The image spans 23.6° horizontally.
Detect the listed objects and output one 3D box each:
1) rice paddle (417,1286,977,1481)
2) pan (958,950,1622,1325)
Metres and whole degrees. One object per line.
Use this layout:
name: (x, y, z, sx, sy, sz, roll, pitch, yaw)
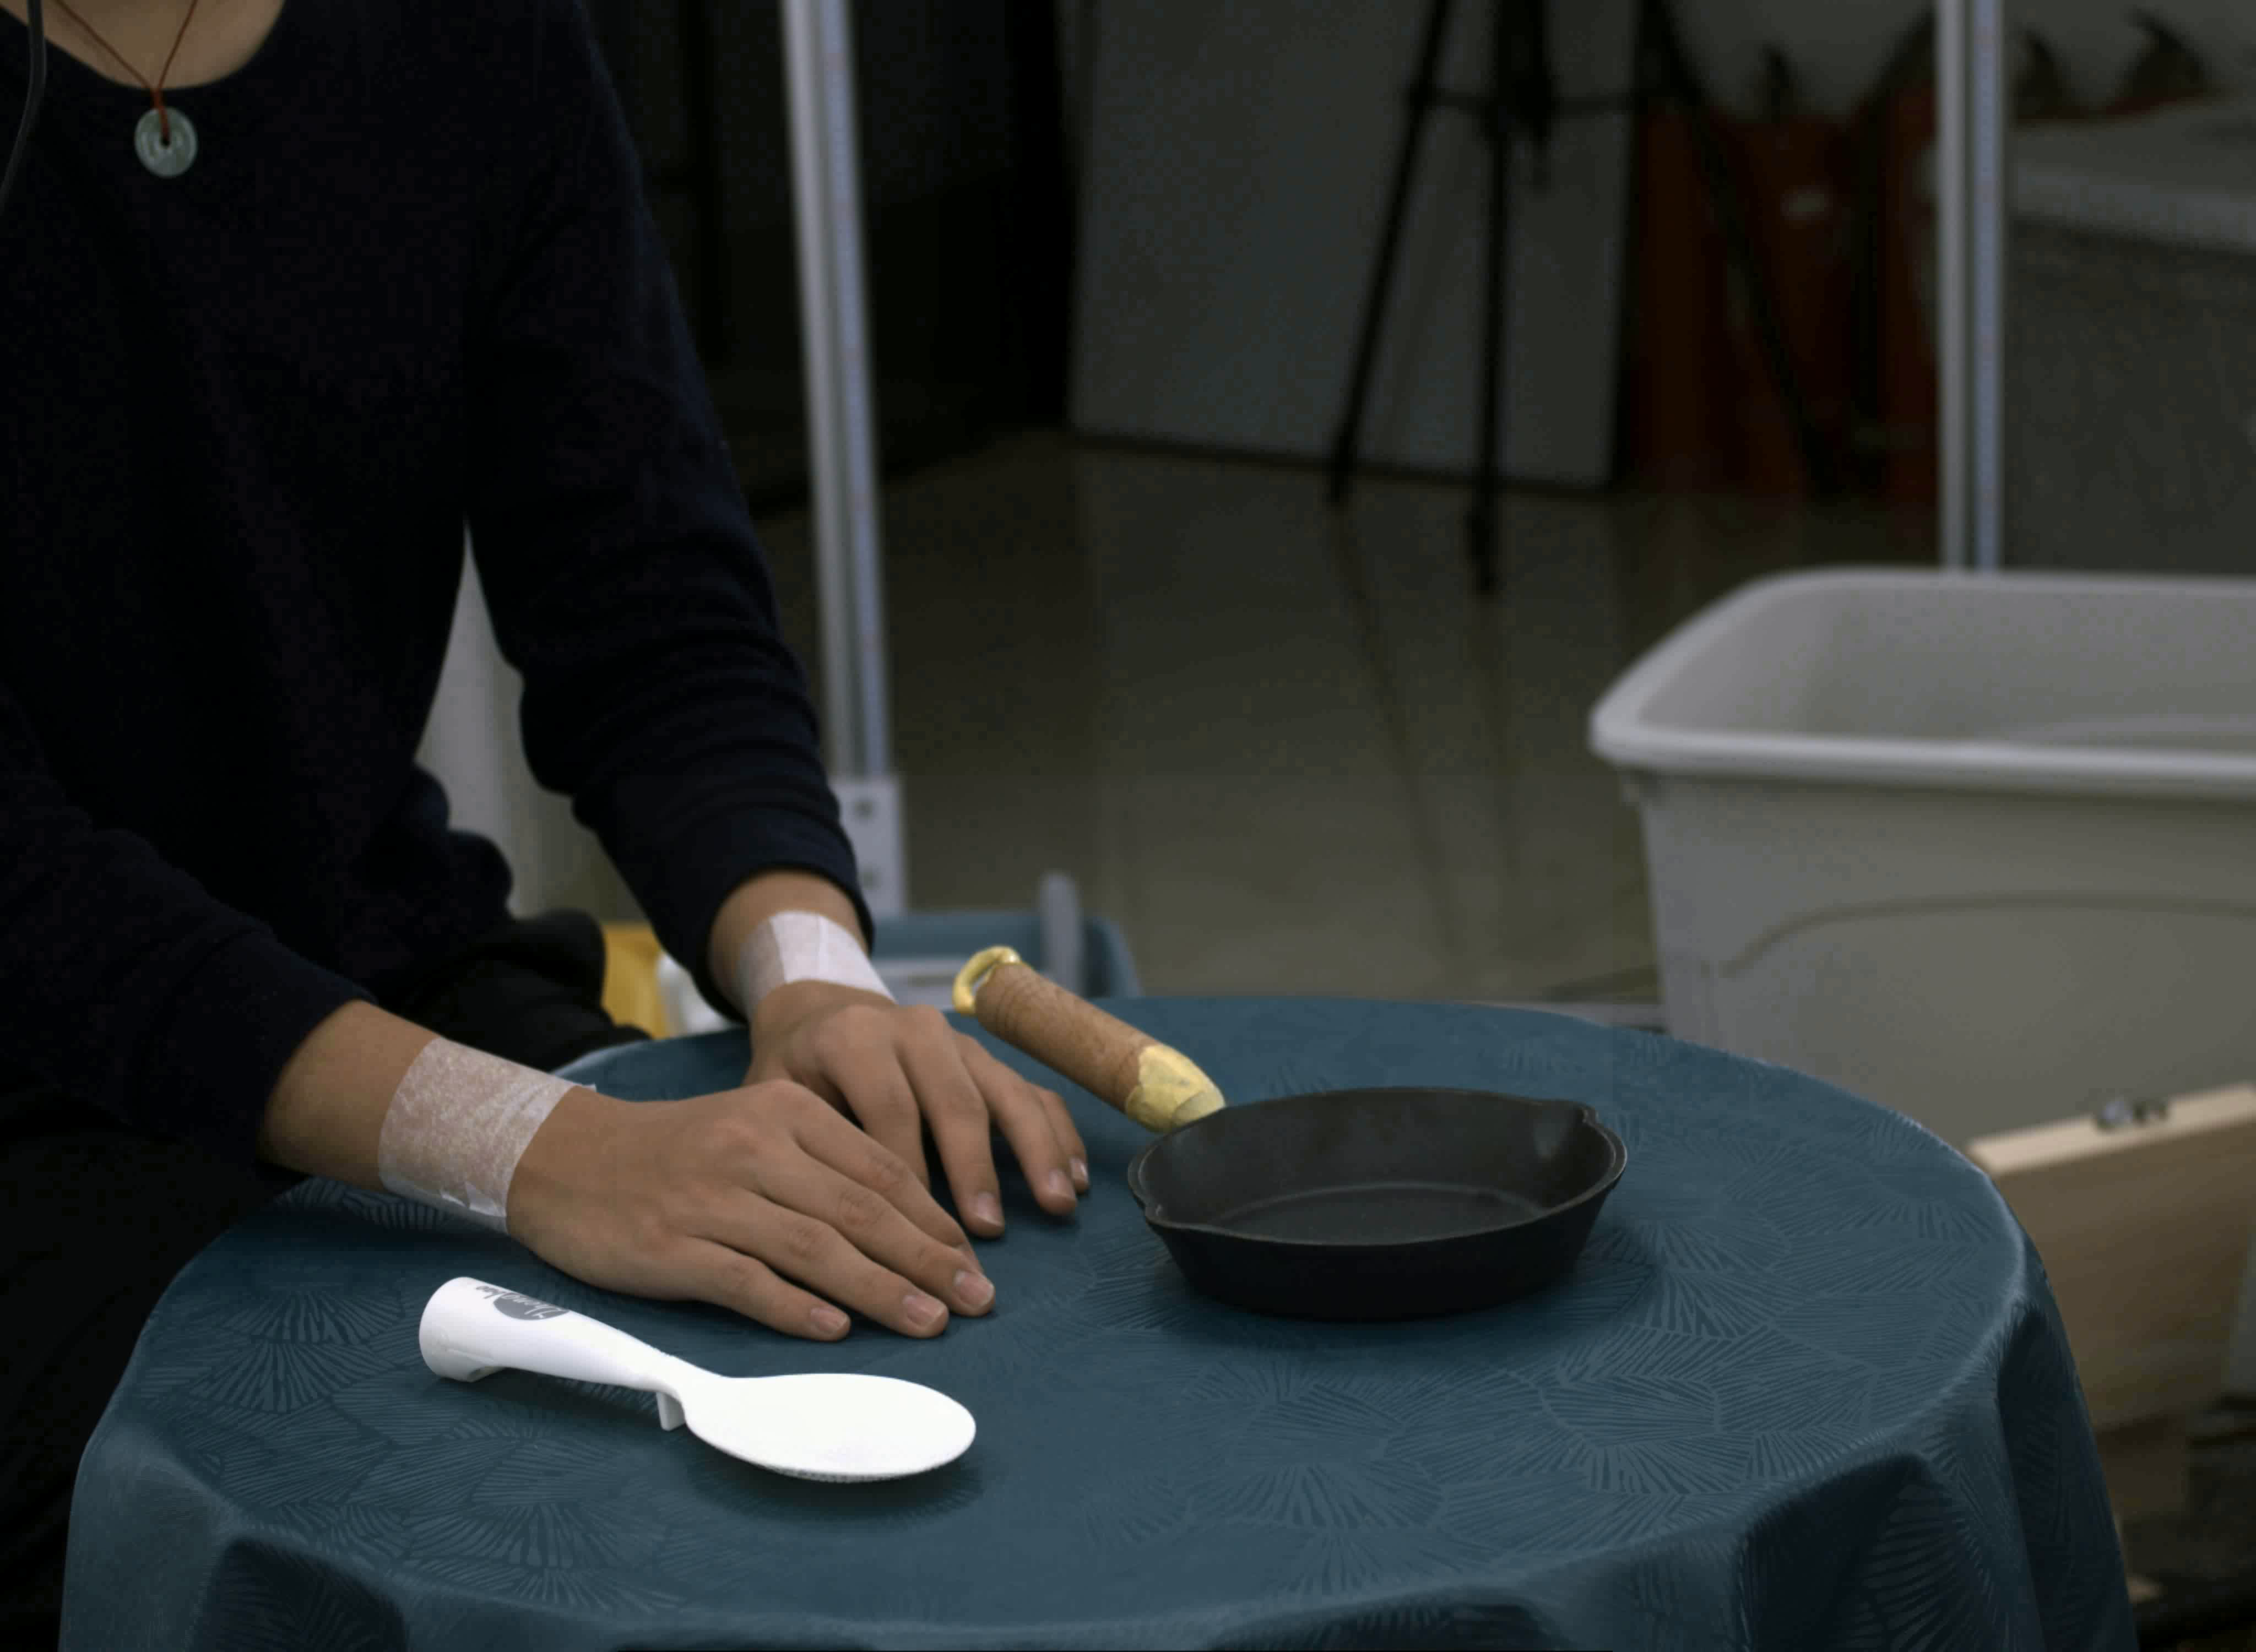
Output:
rice paddle: (-0.127, 0.164, 1.576, 0.207, 0.030, 0.067, 7, 19, 40)
pan: (0.034, 0.097, 1.754, 0.165, 0.050, 0.328, -12, 17, -29)
